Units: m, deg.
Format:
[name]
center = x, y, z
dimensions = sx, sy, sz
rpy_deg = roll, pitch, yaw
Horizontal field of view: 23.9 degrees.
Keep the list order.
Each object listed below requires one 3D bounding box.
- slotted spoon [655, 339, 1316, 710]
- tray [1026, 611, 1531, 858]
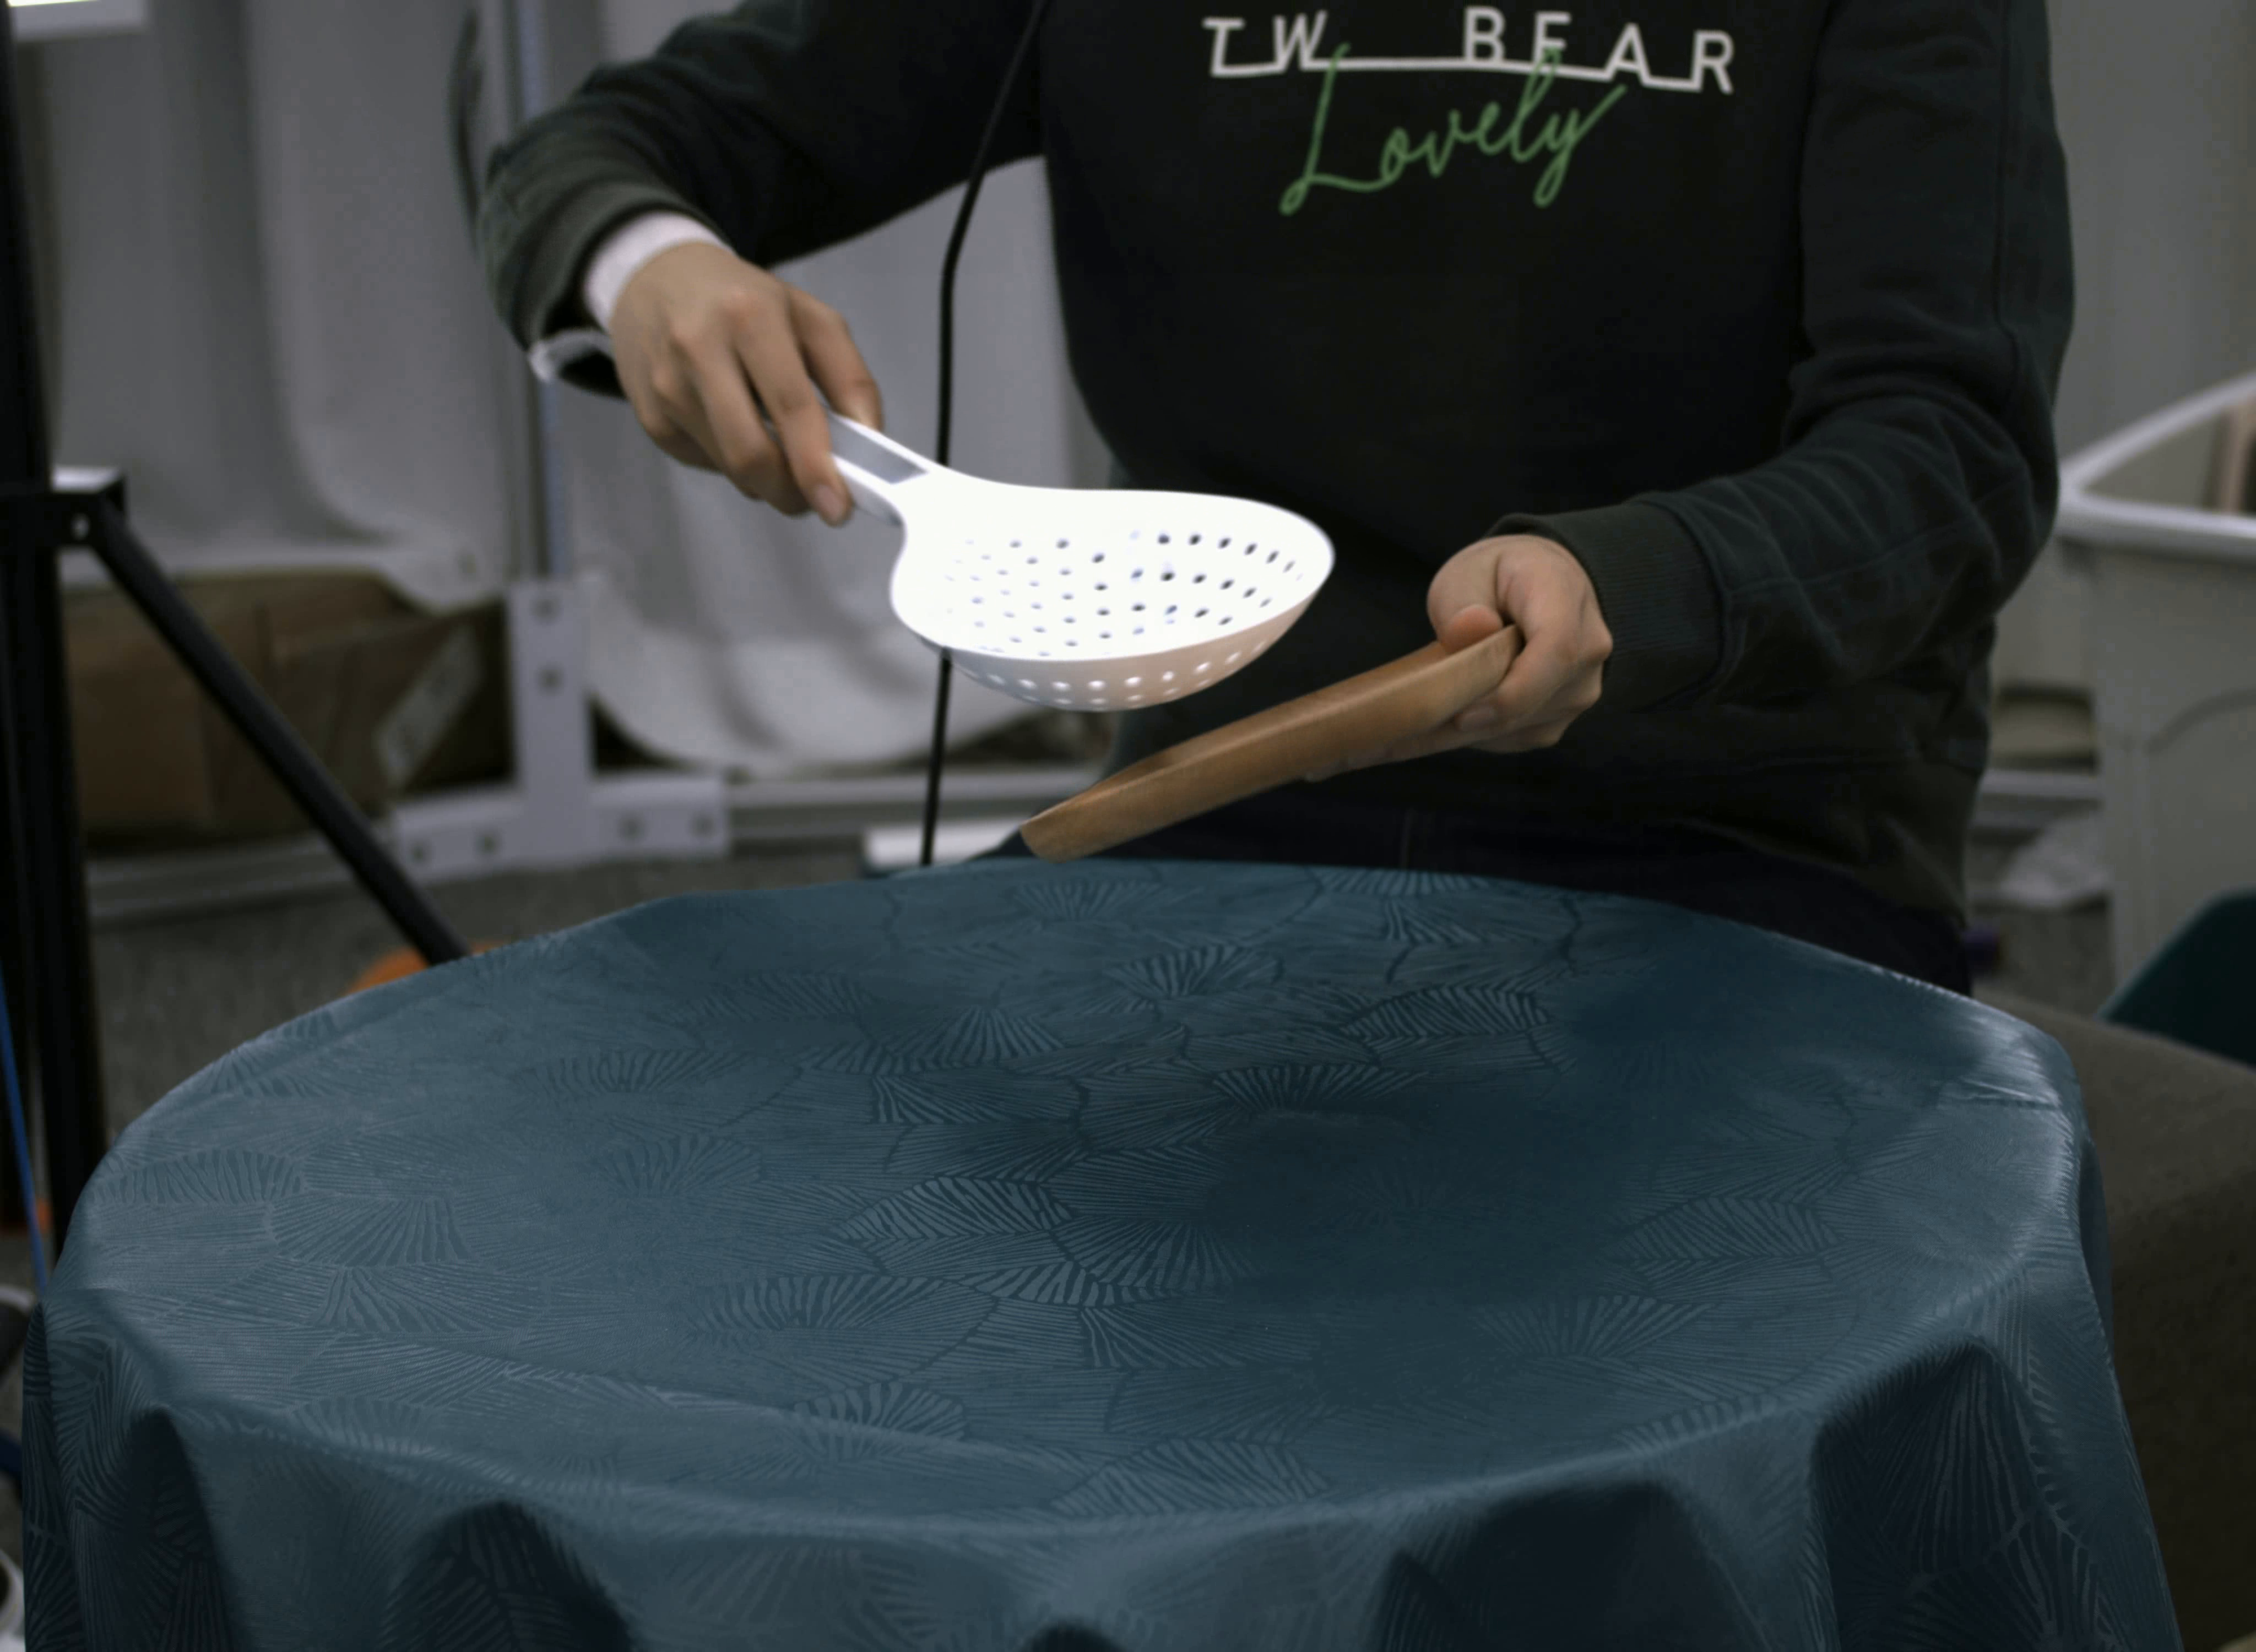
[slotted spoon]
center = -0.066, -0.106, 1.737
dimensions = 0.133, 0.045, 0.358
rpy_deg = -16, 31, -27
[tray]
center = 0.050, -0.028, 1.564
dimensions = 0.131, 0.023, 0.248
rpy_deg = -19, 0, 13
